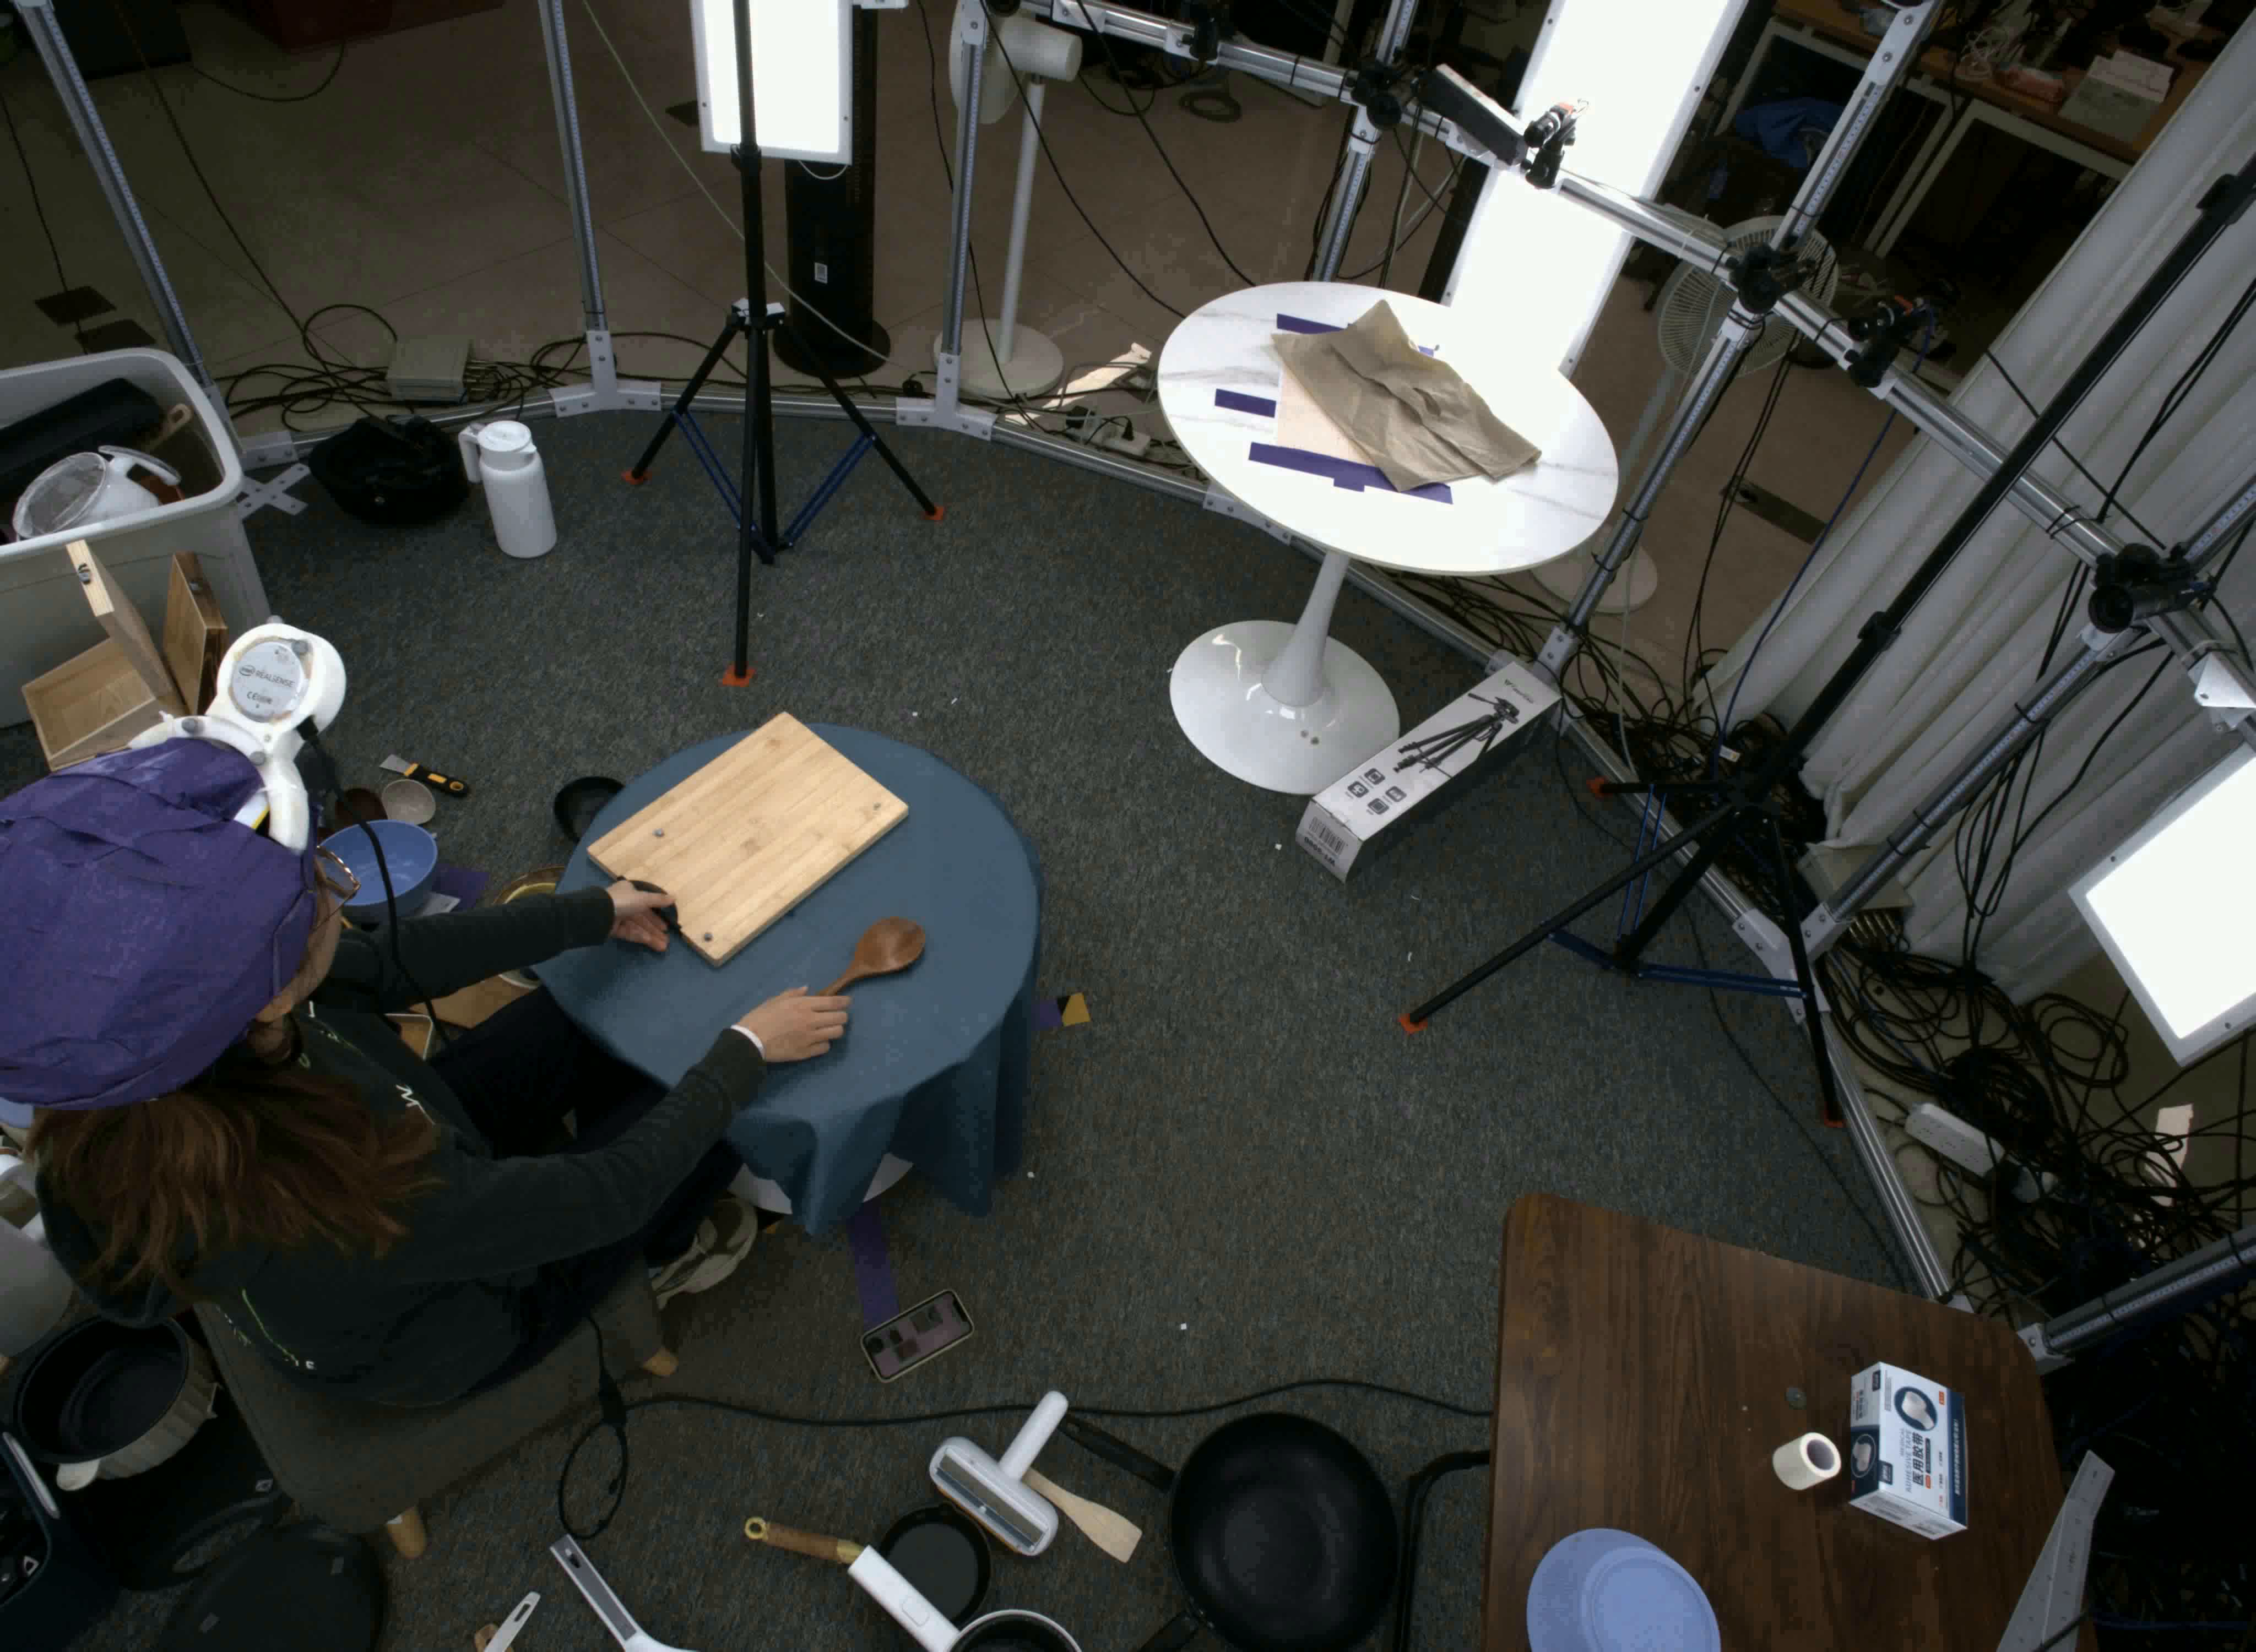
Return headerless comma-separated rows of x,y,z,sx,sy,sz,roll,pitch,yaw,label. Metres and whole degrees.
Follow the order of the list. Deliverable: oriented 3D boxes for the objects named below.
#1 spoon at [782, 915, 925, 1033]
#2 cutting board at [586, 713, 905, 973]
-0.339,0.181,1.604,0.074,0.017,0.216,41,54,14,spoon
-0.496,0.010,1.693,0.246,0.024,0.348,35,53,13,cutting board
